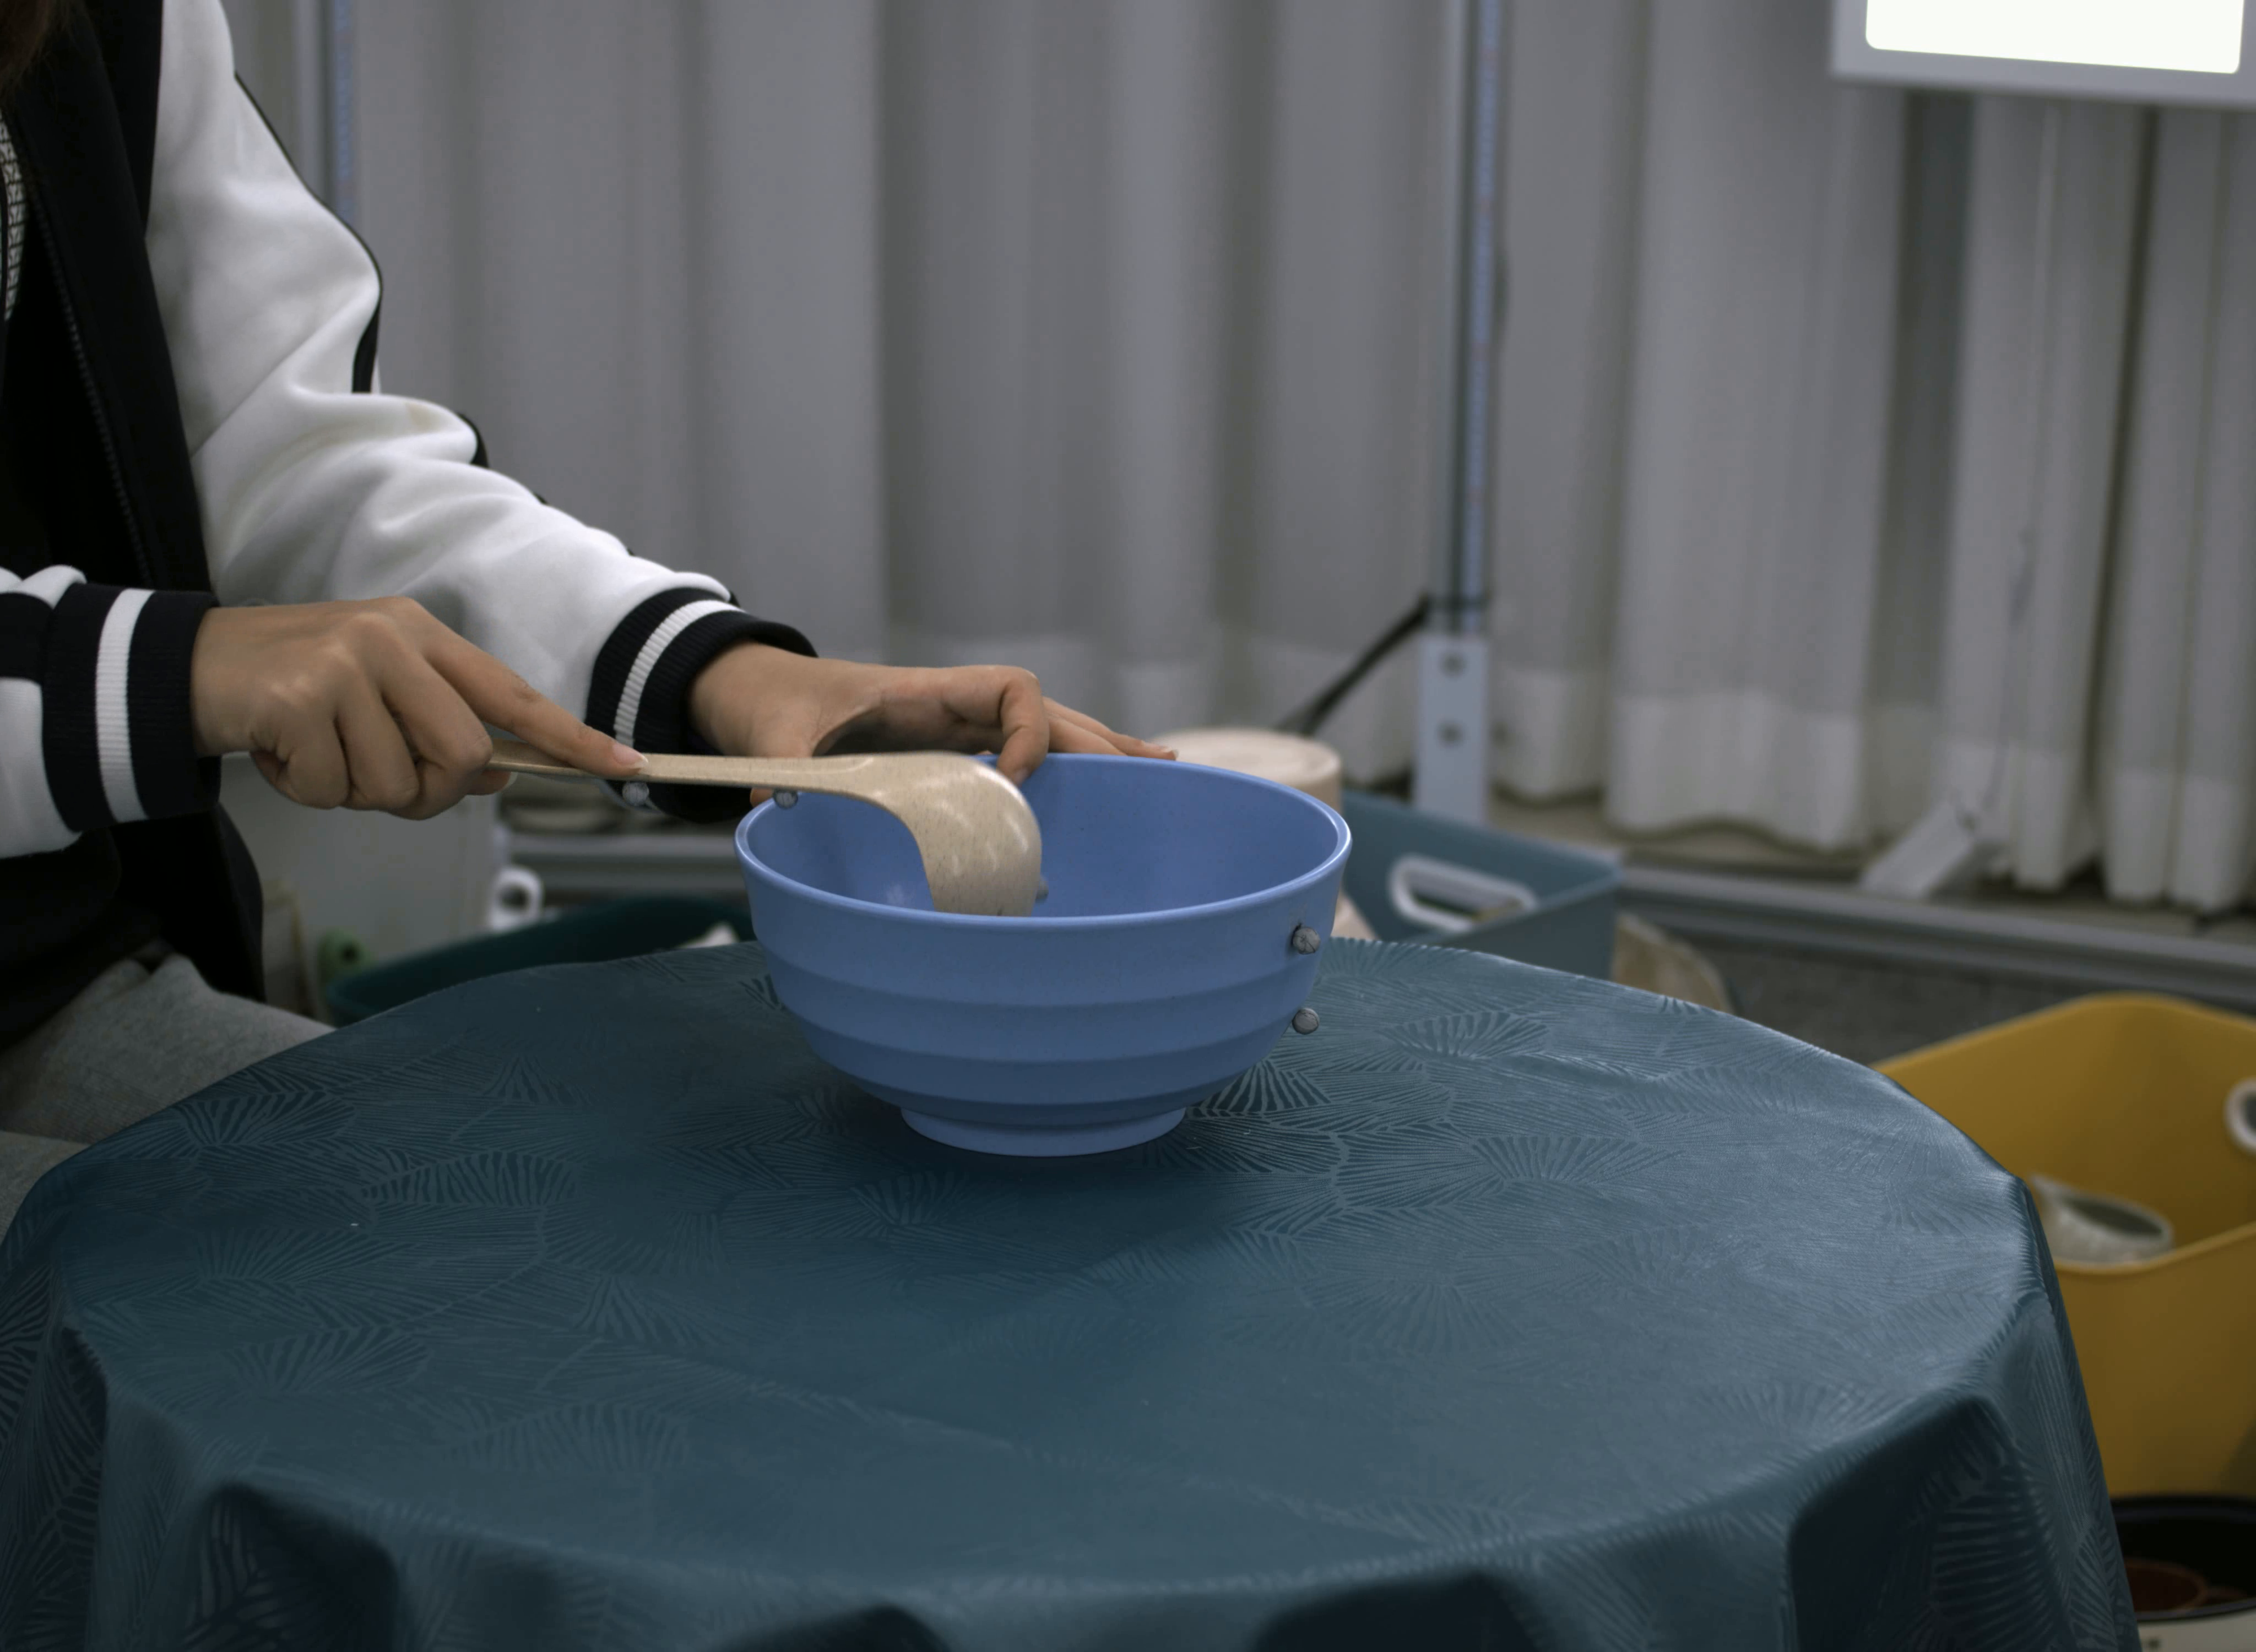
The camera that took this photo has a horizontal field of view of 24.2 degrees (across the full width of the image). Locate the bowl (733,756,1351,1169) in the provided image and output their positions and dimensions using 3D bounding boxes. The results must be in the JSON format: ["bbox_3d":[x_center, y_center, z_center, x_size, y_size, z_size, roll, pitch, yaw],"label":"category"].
[{"bbox_3d":[-0.026,0.050,1.681,0.196,0.096,0.195,-1,17,1],"label":"bowl"}]

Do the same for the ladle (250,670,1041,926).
[{"bbox_3d":[-0.155,0.002,1.663,0.255,0.073,0.071,9,36,-11],"label":"ladle"}]
